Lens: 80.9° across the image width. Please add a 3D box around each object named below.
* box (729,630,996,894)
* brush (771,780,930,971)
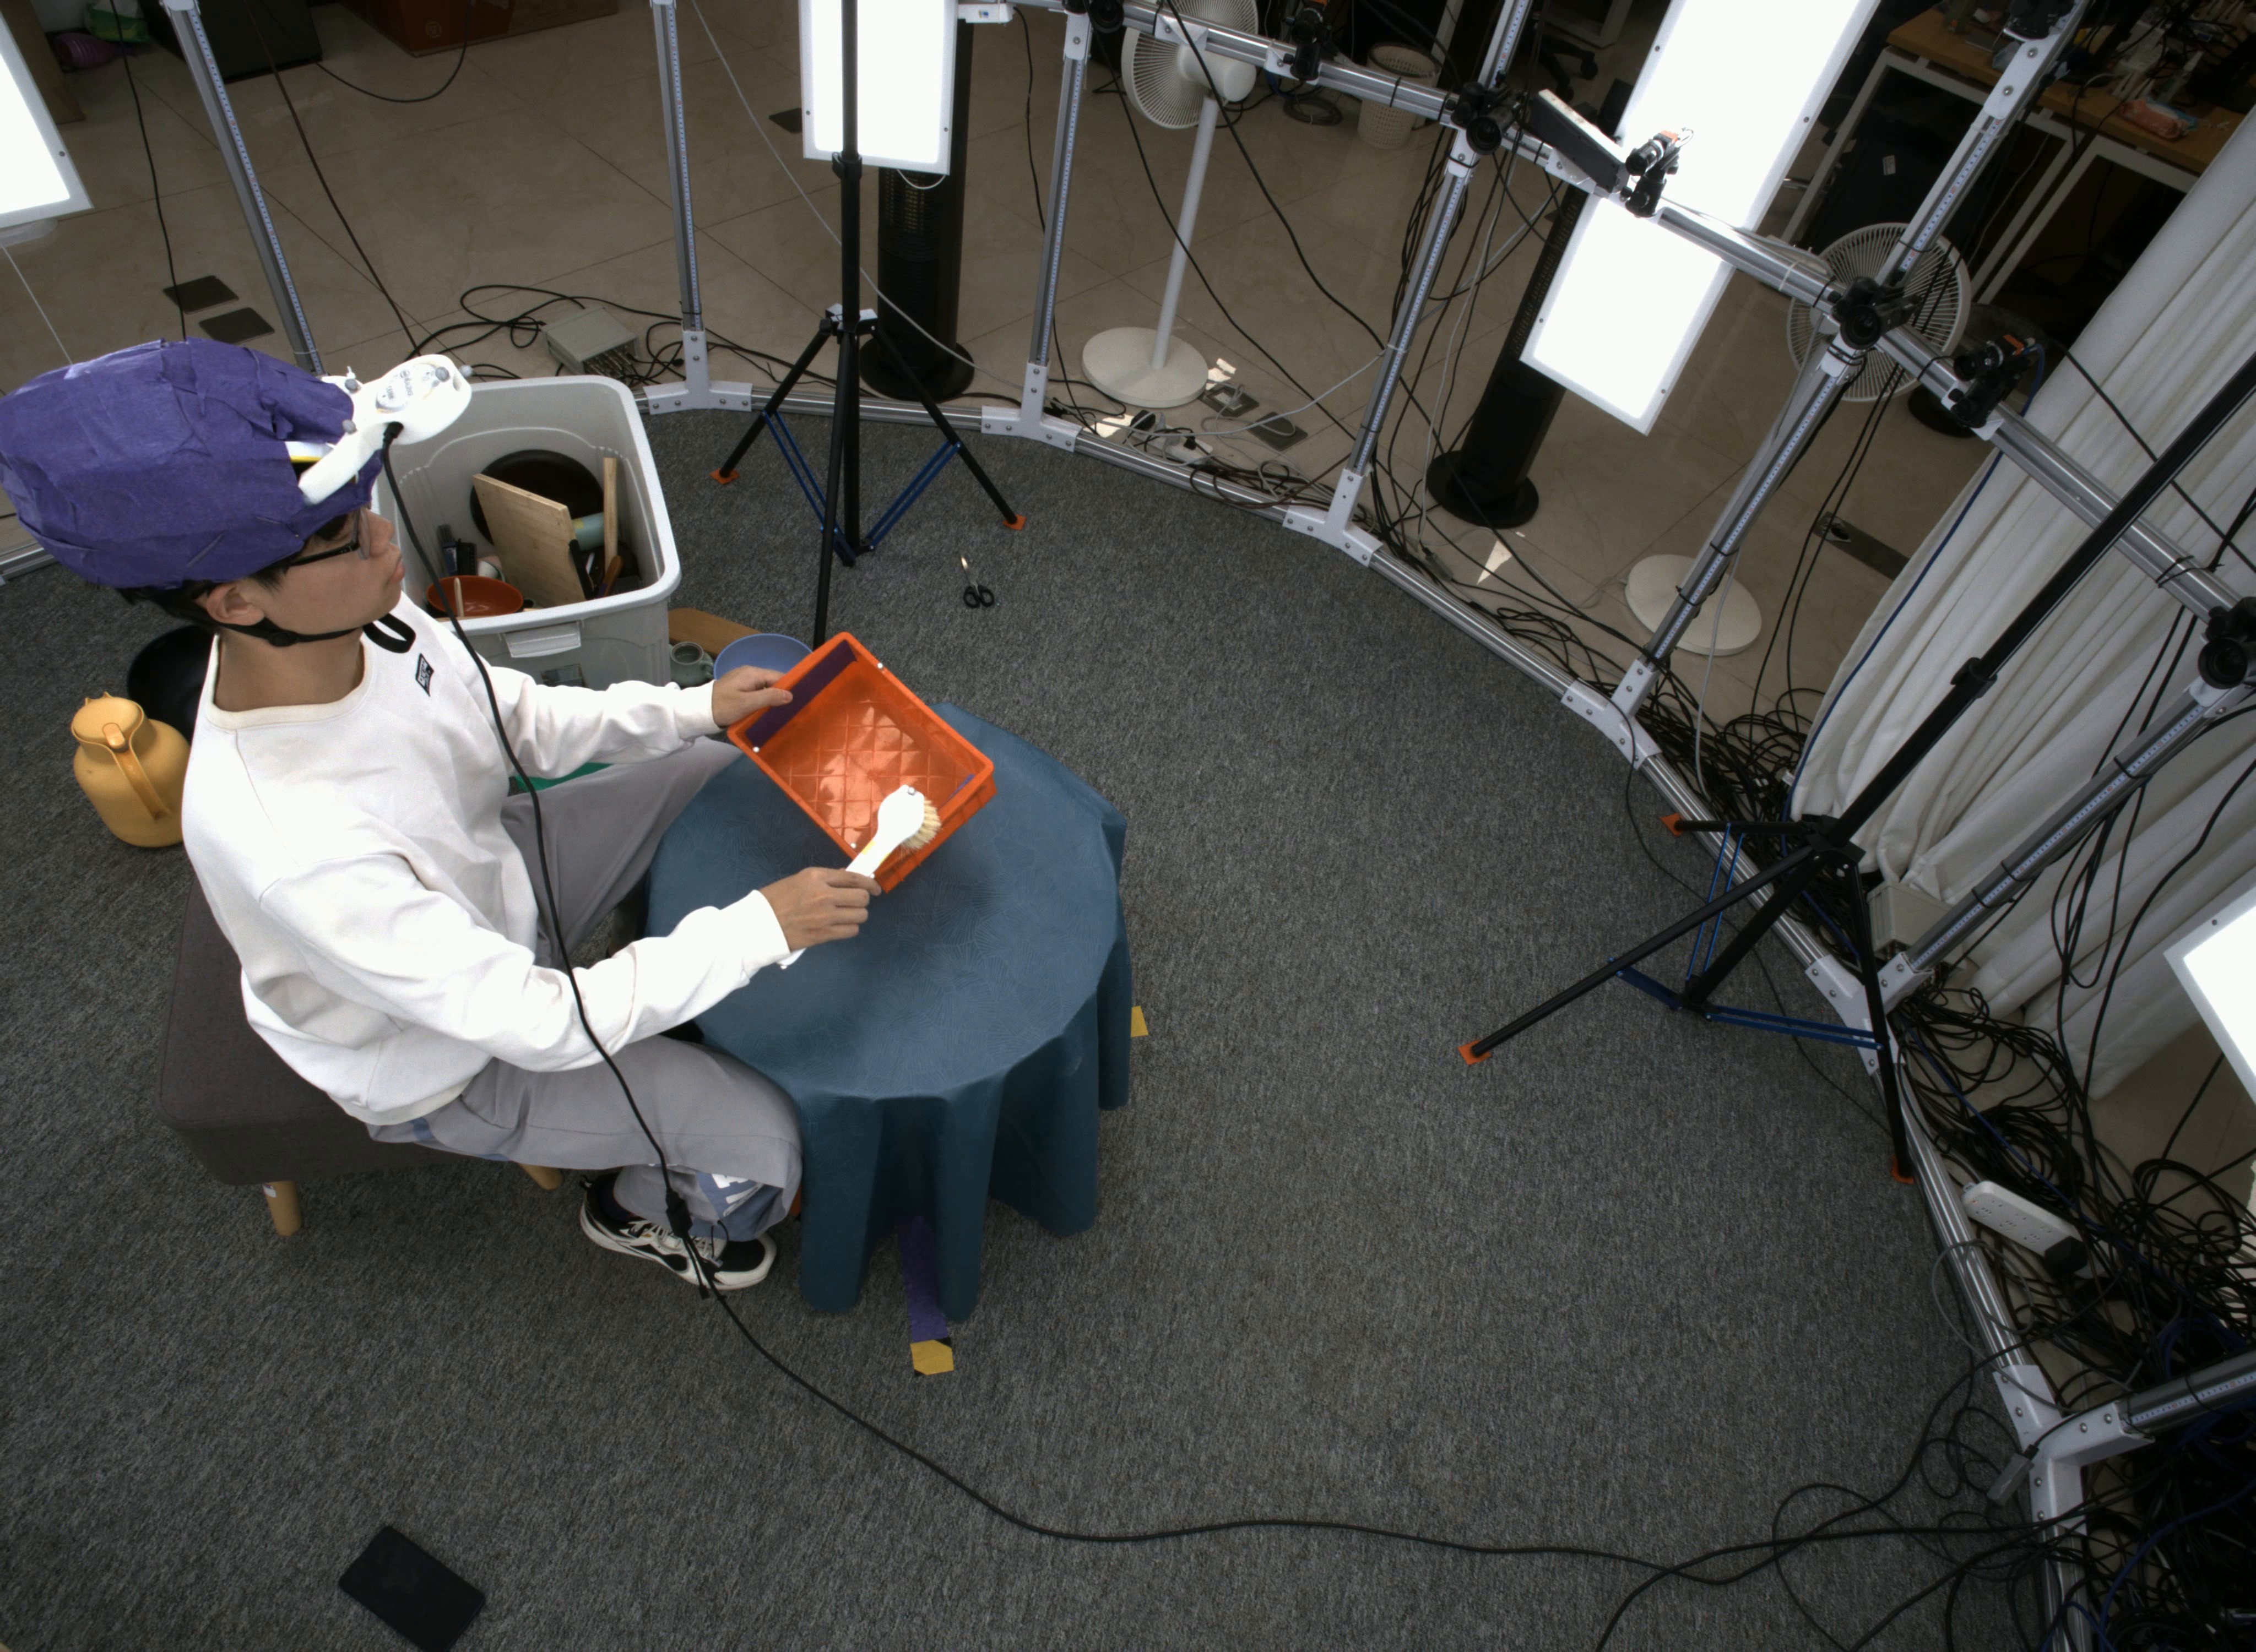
[{"bbox_3d":[-0.334,-0.079,1.660,0.296,0.099,0.206,41,76,18],"label":"box"},{"bbox_3d":[-0.326,0.063,1.525,0.066,0.058,0.266,23,73,33],"label":"brush"}]
